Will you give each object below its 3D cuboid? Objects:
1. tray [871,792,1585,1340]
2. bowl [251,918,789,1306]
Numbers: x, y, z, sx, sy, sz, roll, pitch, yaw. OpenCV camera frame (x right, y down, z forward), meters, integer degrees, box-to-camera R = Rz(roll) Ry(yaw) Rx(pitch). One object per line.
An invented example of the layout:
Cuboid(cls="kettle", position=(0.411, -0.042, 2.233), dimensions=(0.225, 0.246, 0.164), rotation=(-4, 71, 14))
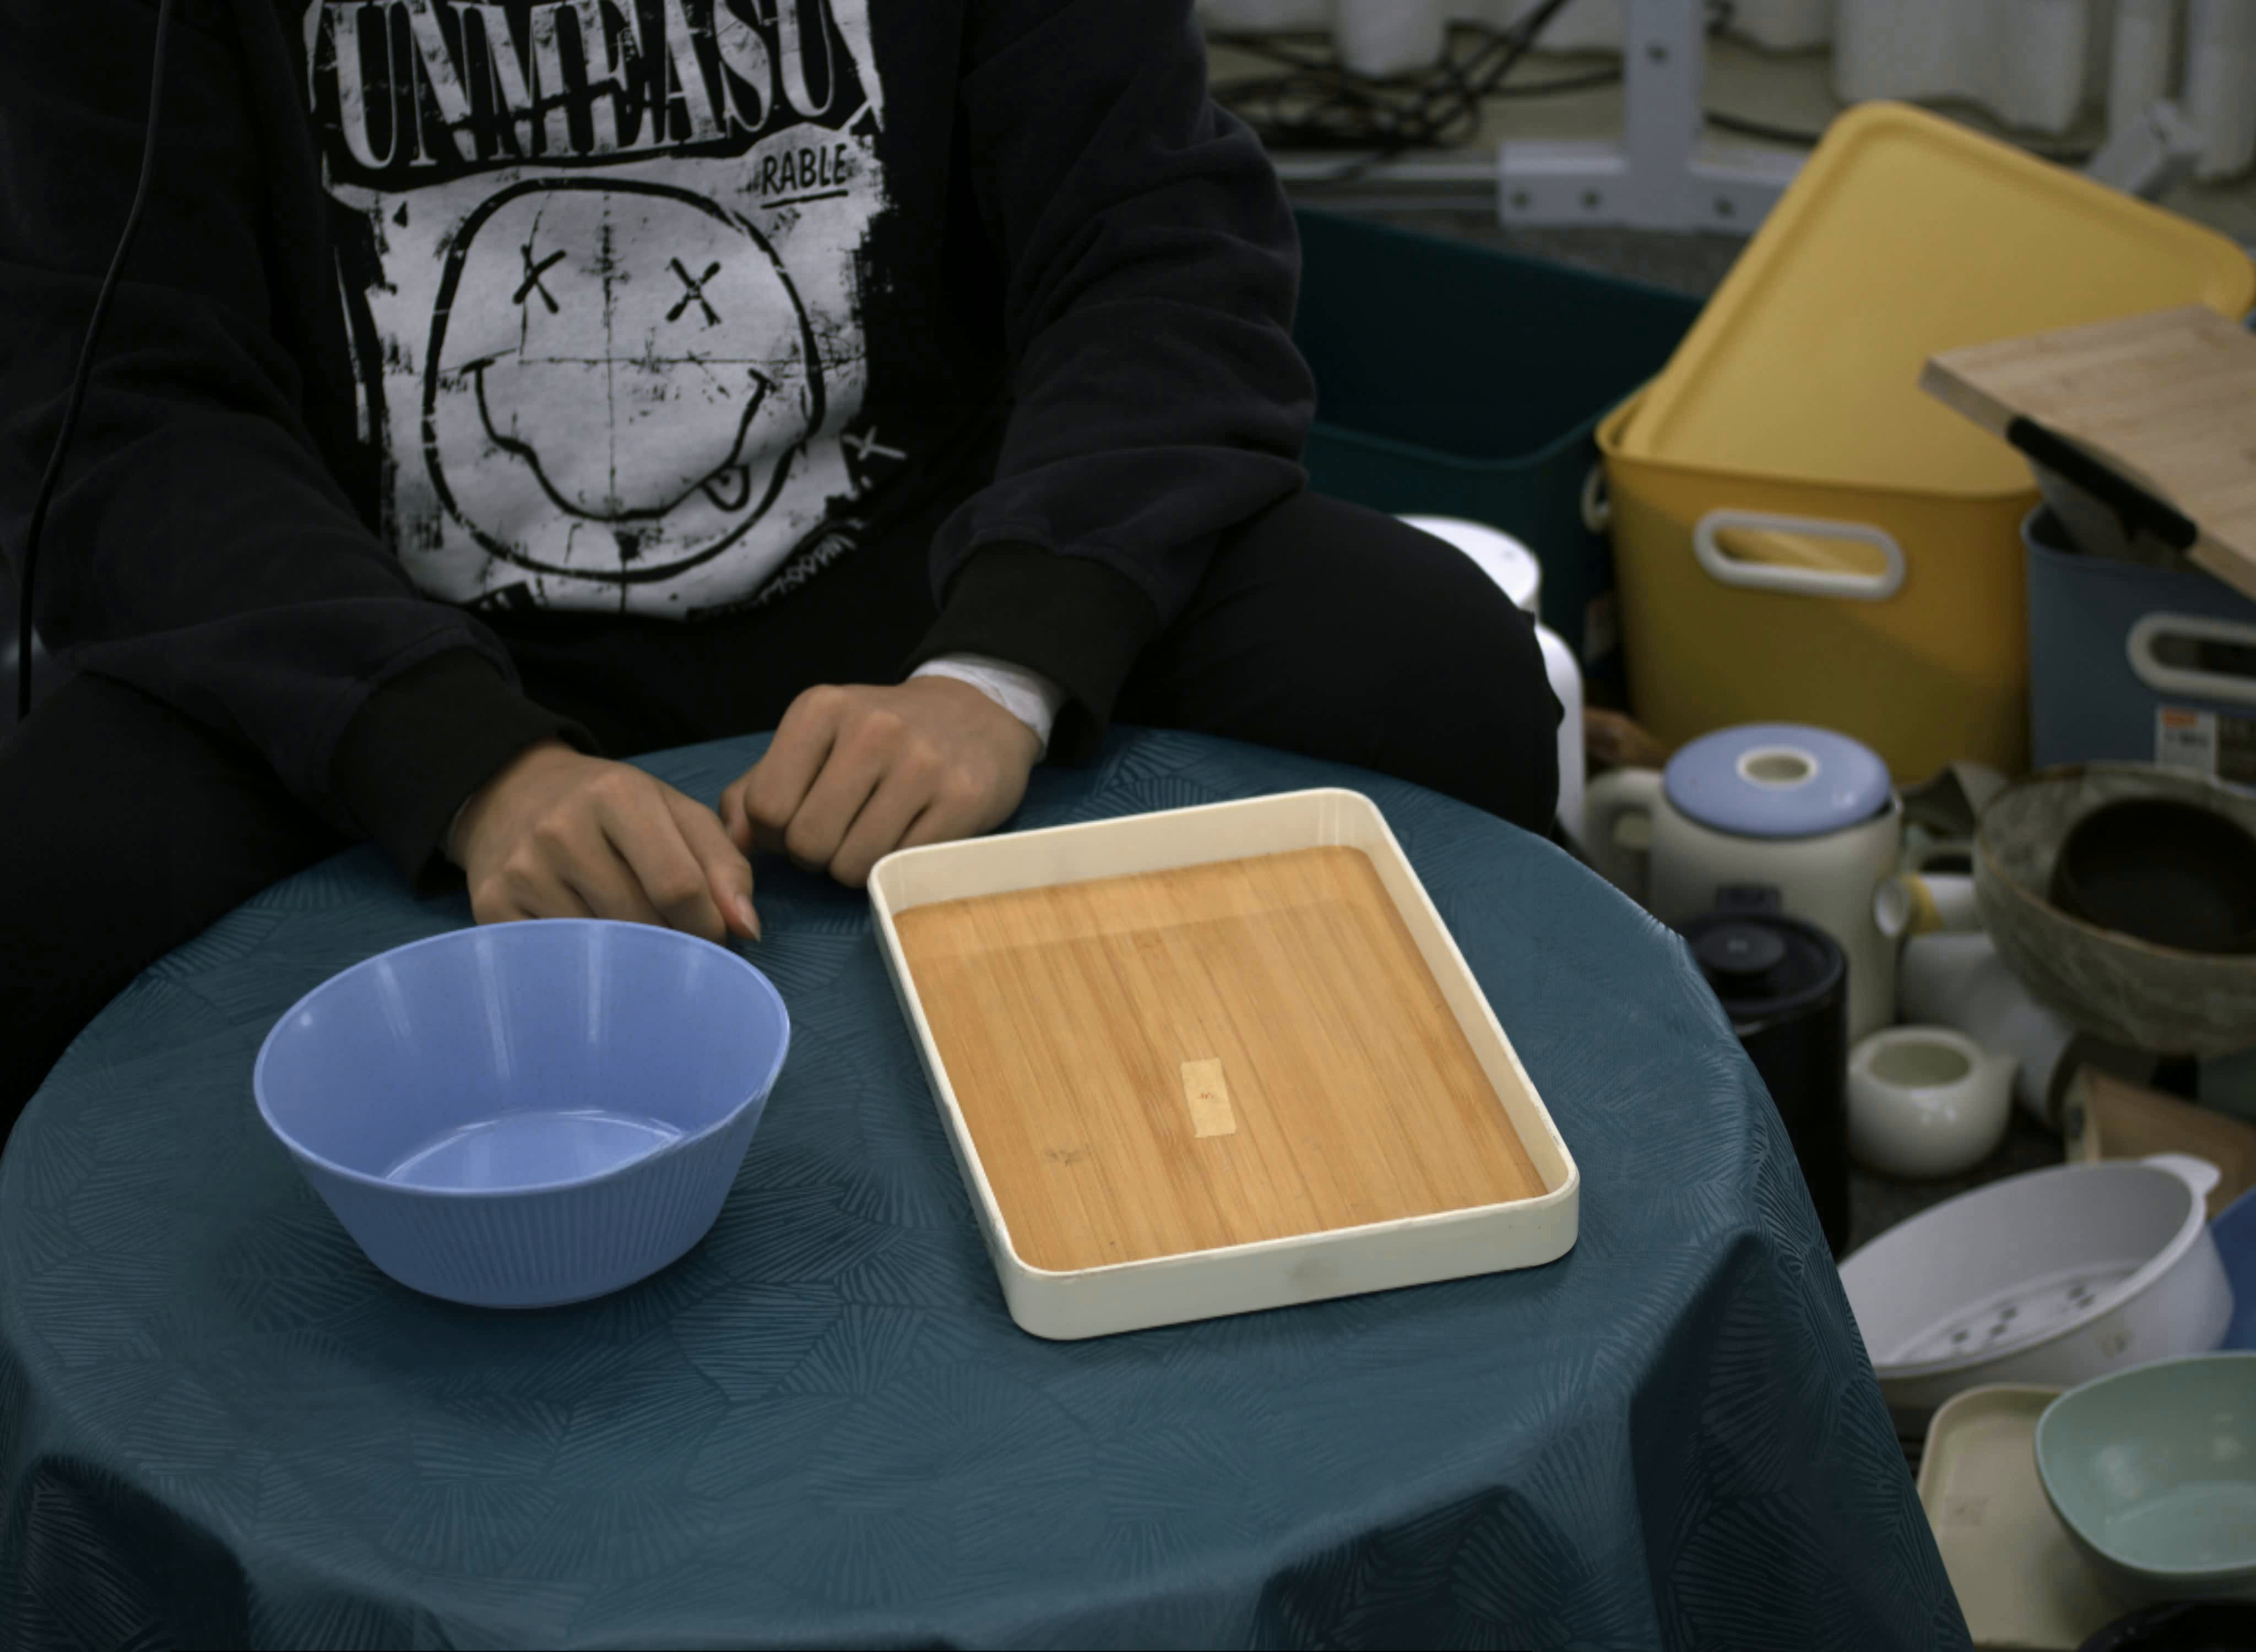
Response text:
Cuboid(cls="tray", position=(0.028, 0.076, 1.918), dimensions=(0.191, 0.027, 0.304), rotation=(-8, 28, -10))
Cuboid(cls="bowl", position=(-0.197, 0.100, 1.845), dimensions=(0.175, 0.069, 0.179), rotation=(-2, 28, 1))
